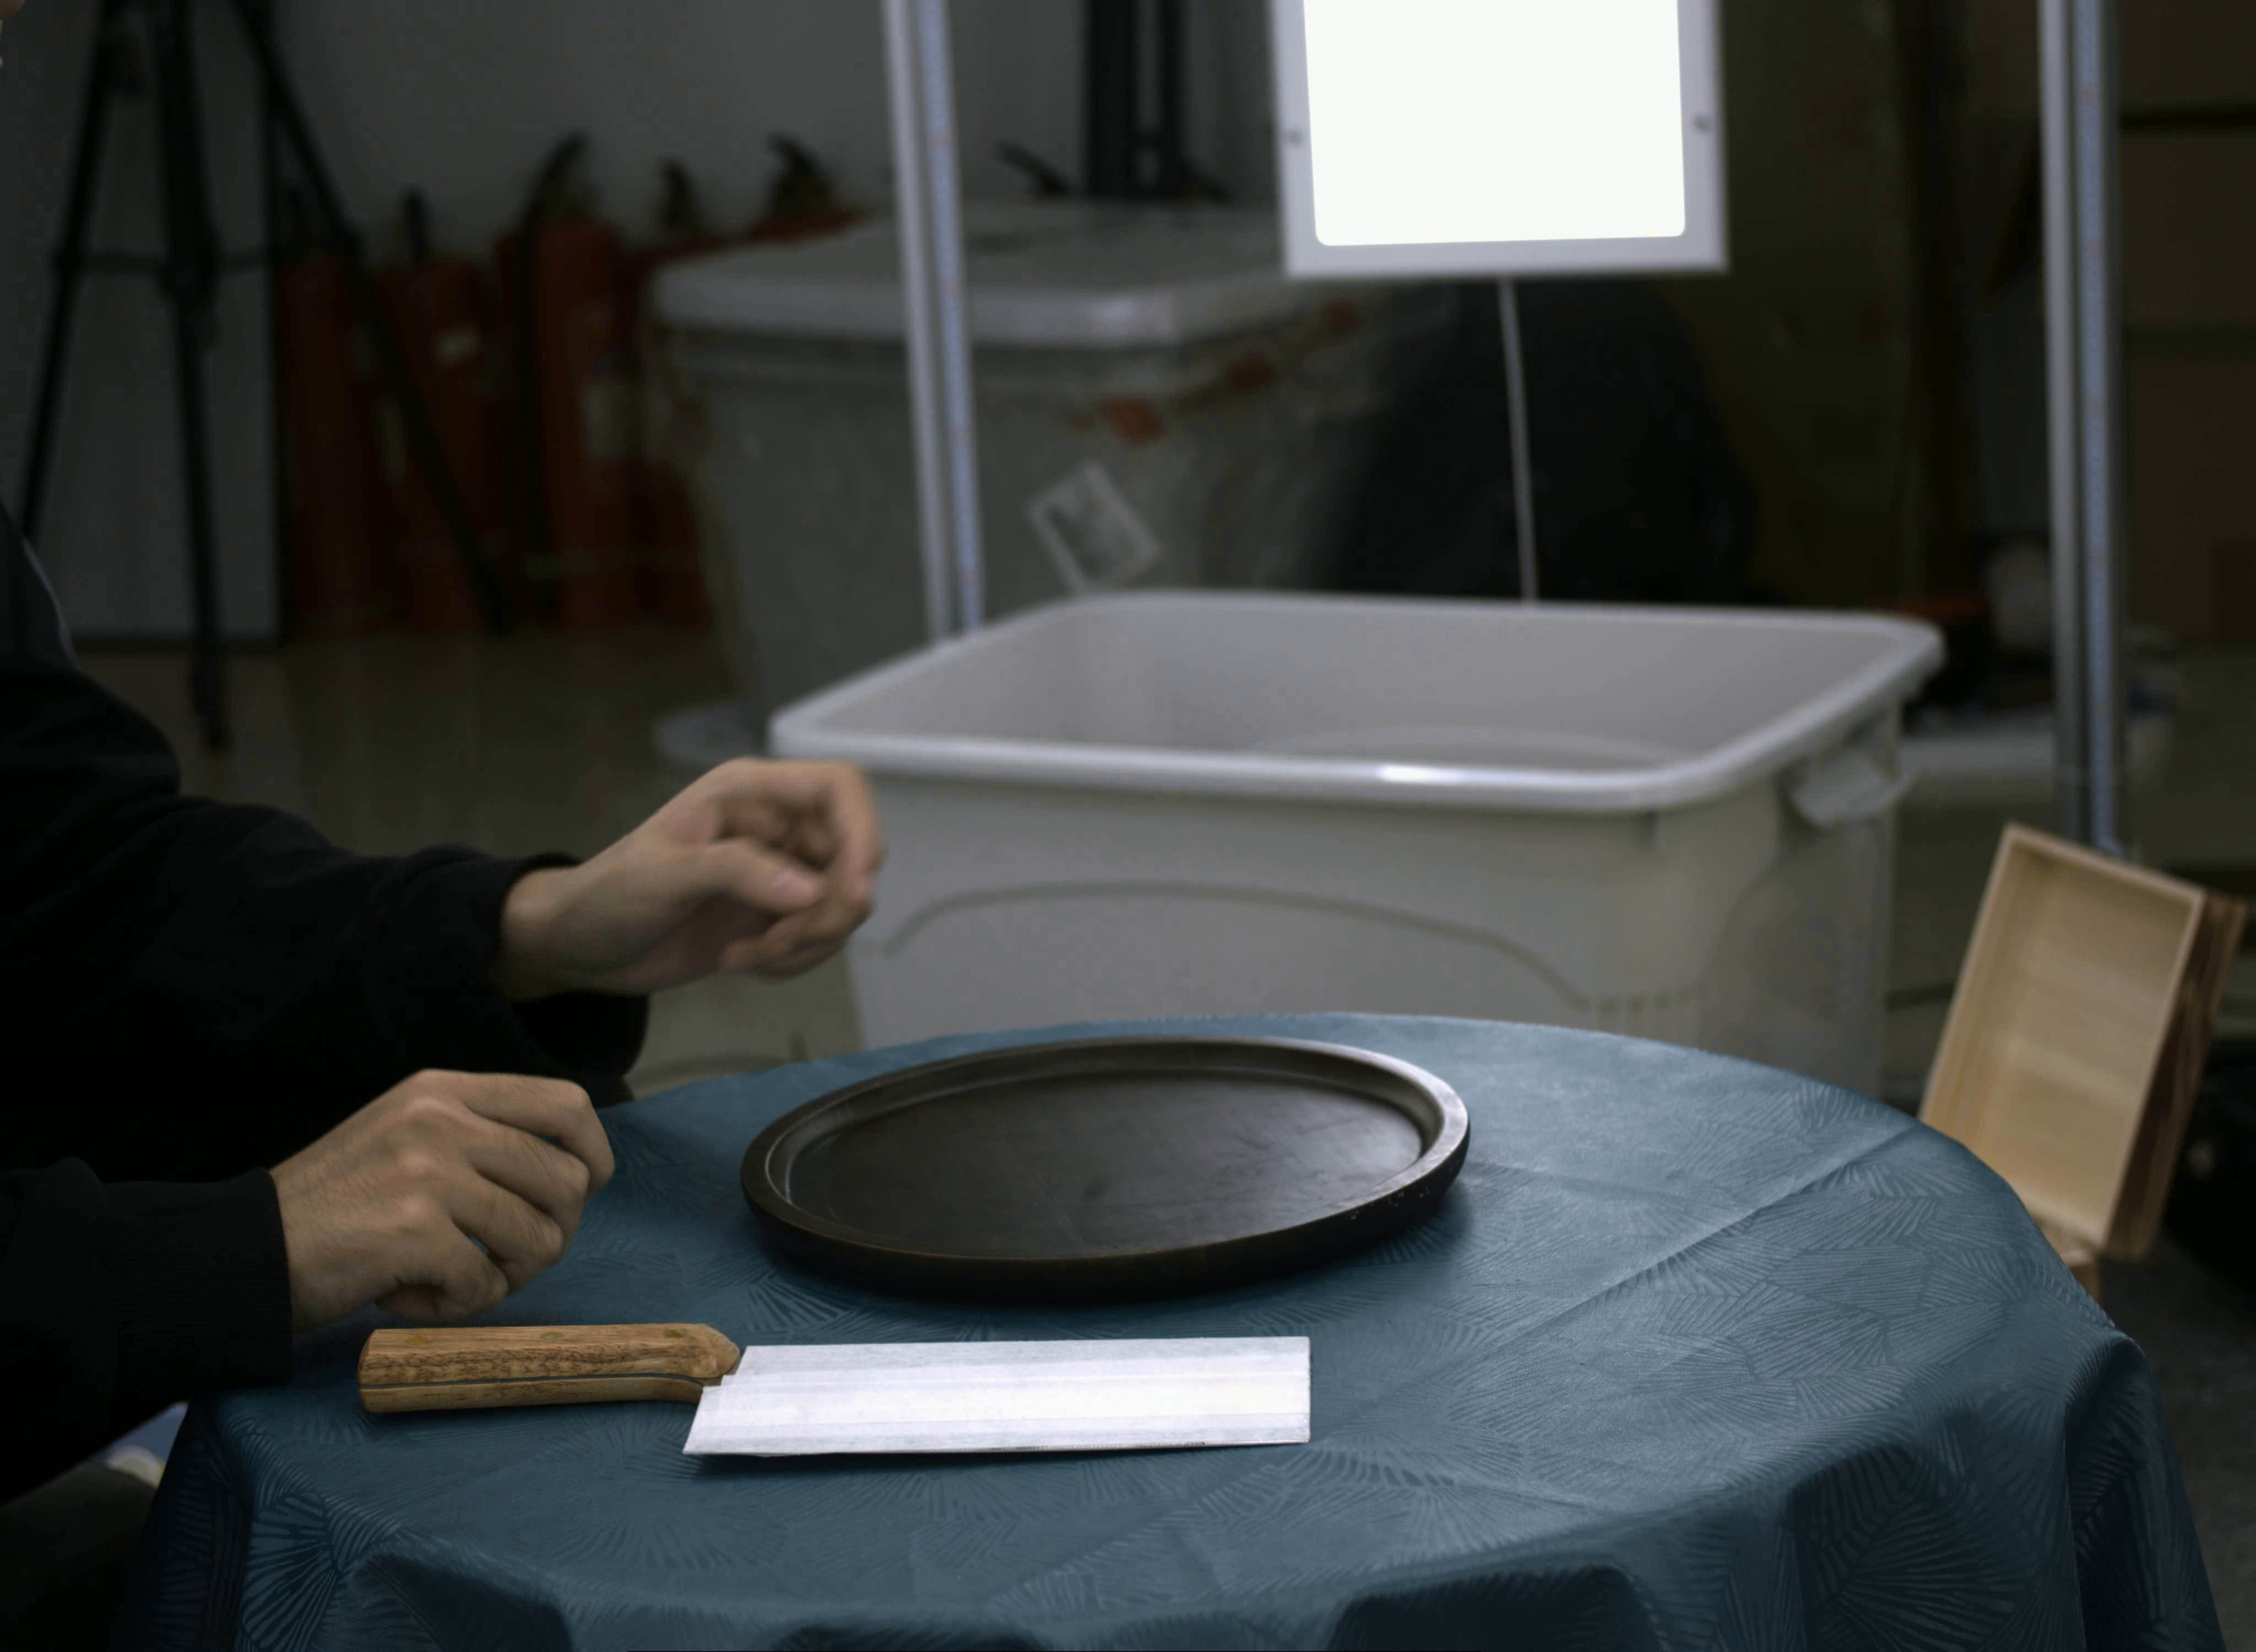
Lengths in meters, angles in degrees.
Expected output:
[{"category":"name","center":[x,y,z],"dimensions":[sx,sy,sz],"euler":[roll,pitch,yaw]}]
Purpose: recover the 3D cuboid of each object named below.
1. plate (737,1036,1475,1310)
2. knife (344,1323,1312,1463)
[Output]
[{"category":"plate","center":[-0.007,0.116,1.889],"dimensions":[0.254,0.029,0.254],"euler":[-5,15,0]},{"category":"knife","center":[-0.095,0.176,1.700],"dimensions":[0.306,0.021,0.092],"euler":[-2,16,5]}]
